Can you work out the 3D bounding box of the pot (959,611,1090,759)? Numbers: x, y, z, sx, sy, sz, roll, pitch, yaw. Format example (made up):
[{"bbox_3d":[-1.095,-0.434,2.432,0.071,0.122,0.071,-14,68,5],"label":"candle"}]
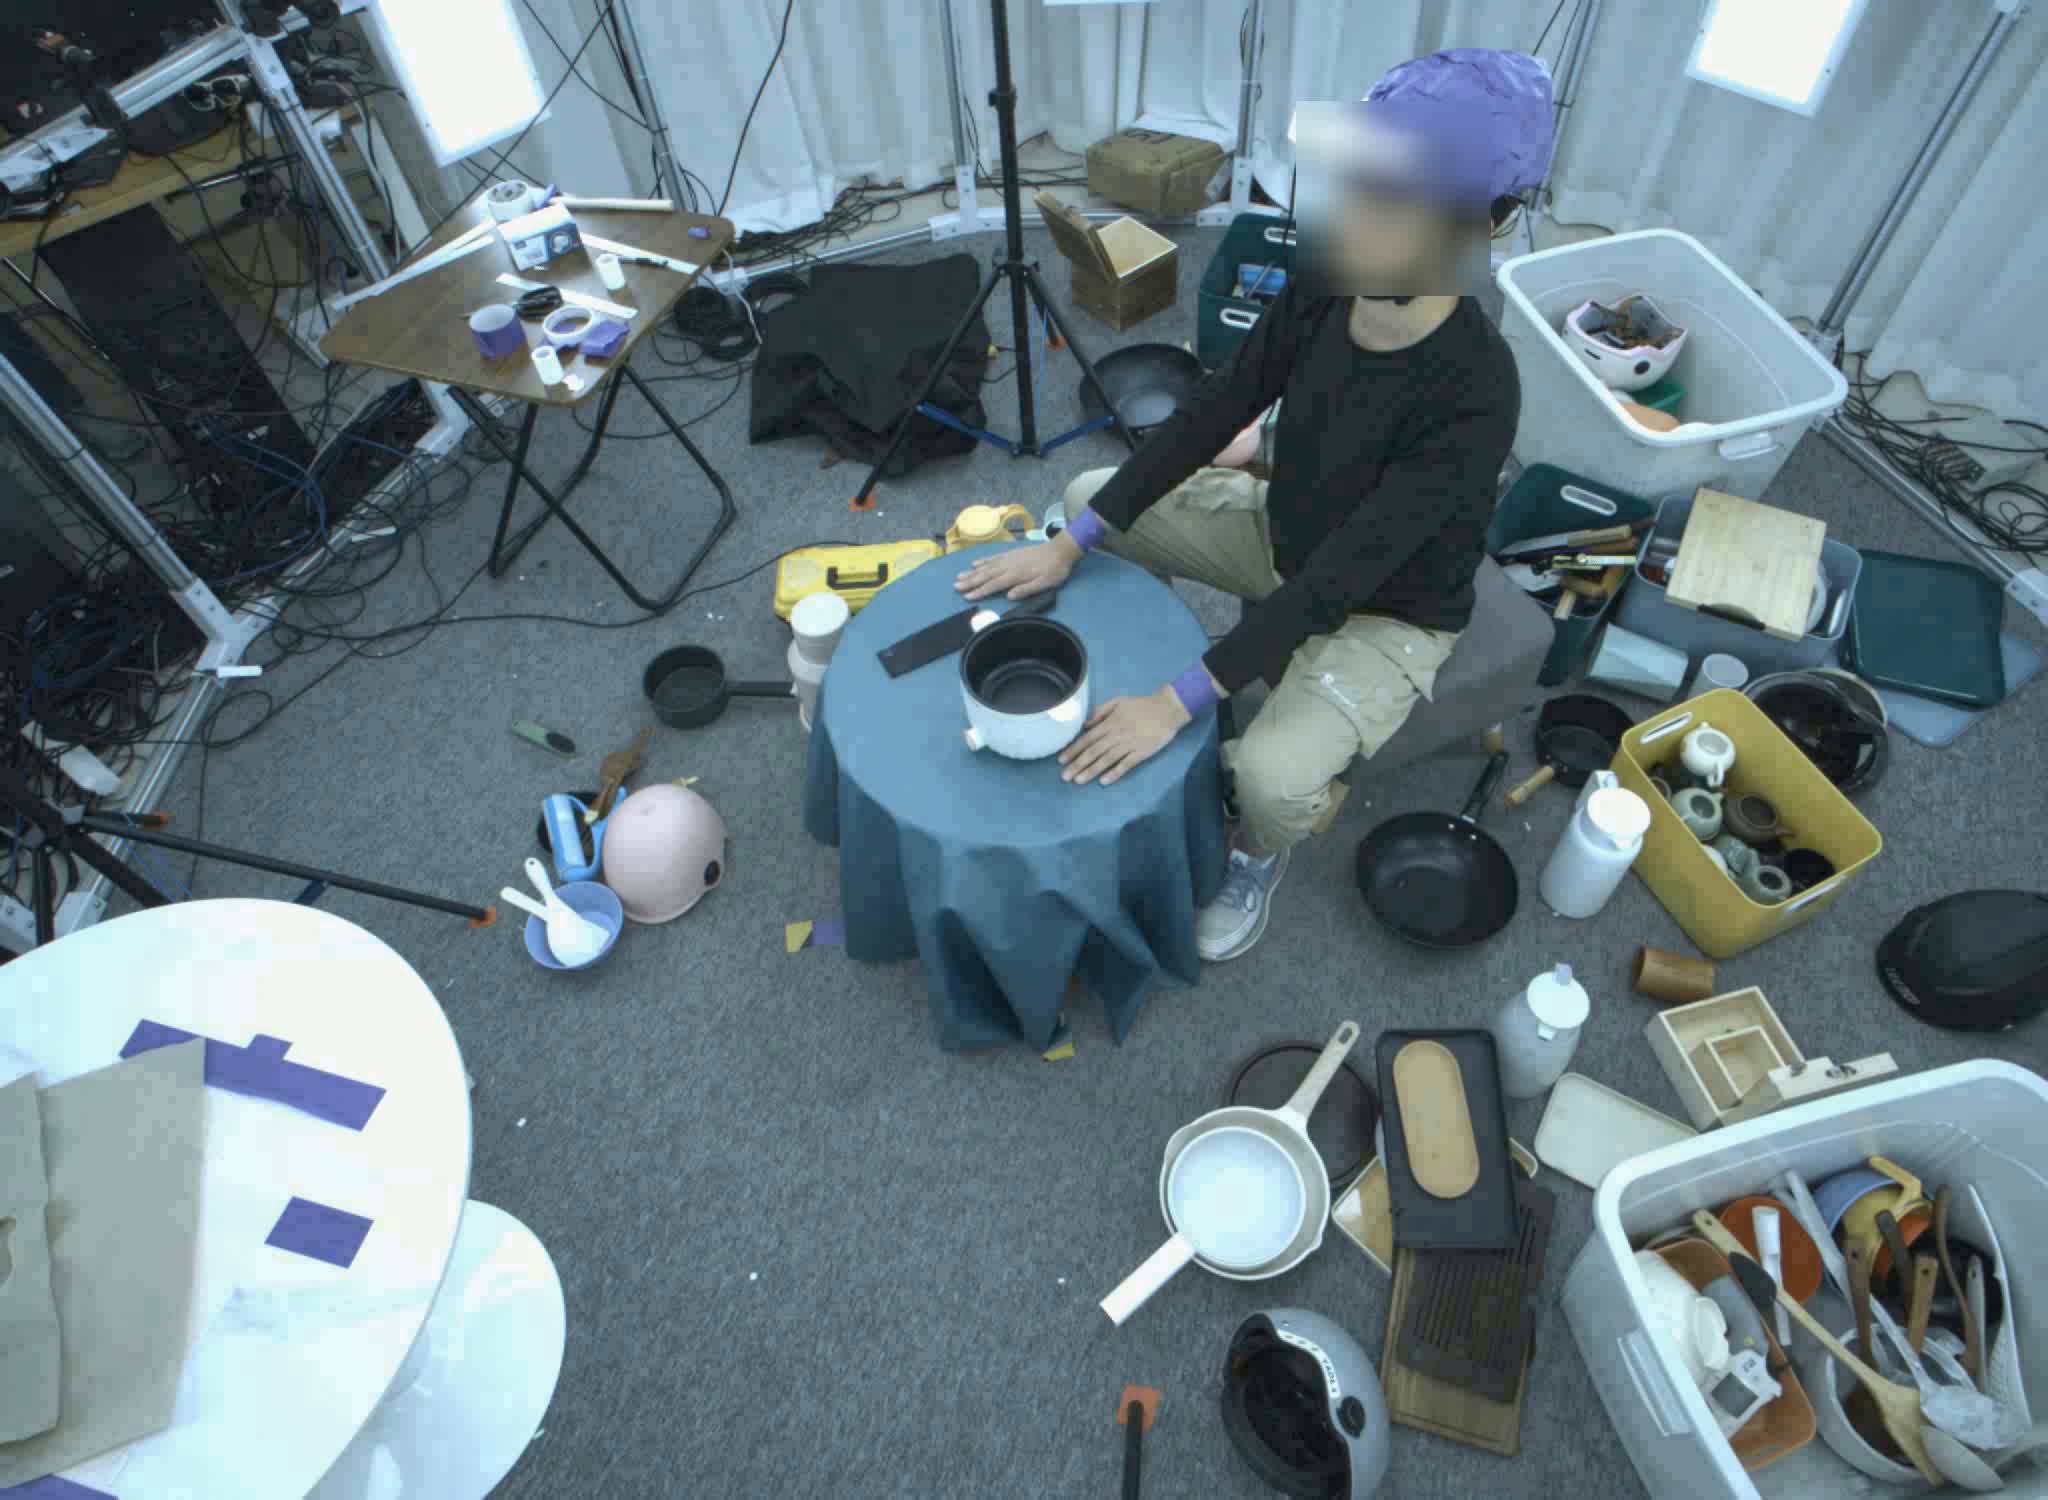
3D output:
[{"bbox_3d":[-0.001,-0.079,1.755,0.192,0.144,0.236,-29,57,-21],"label":"pot"}]

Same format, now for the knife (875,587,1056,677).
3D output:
[{"bbox_3d":[-0.086,-0.192,1.915,0.304,0.021,0.079,-22,55,-11],"label":"knife"}]
